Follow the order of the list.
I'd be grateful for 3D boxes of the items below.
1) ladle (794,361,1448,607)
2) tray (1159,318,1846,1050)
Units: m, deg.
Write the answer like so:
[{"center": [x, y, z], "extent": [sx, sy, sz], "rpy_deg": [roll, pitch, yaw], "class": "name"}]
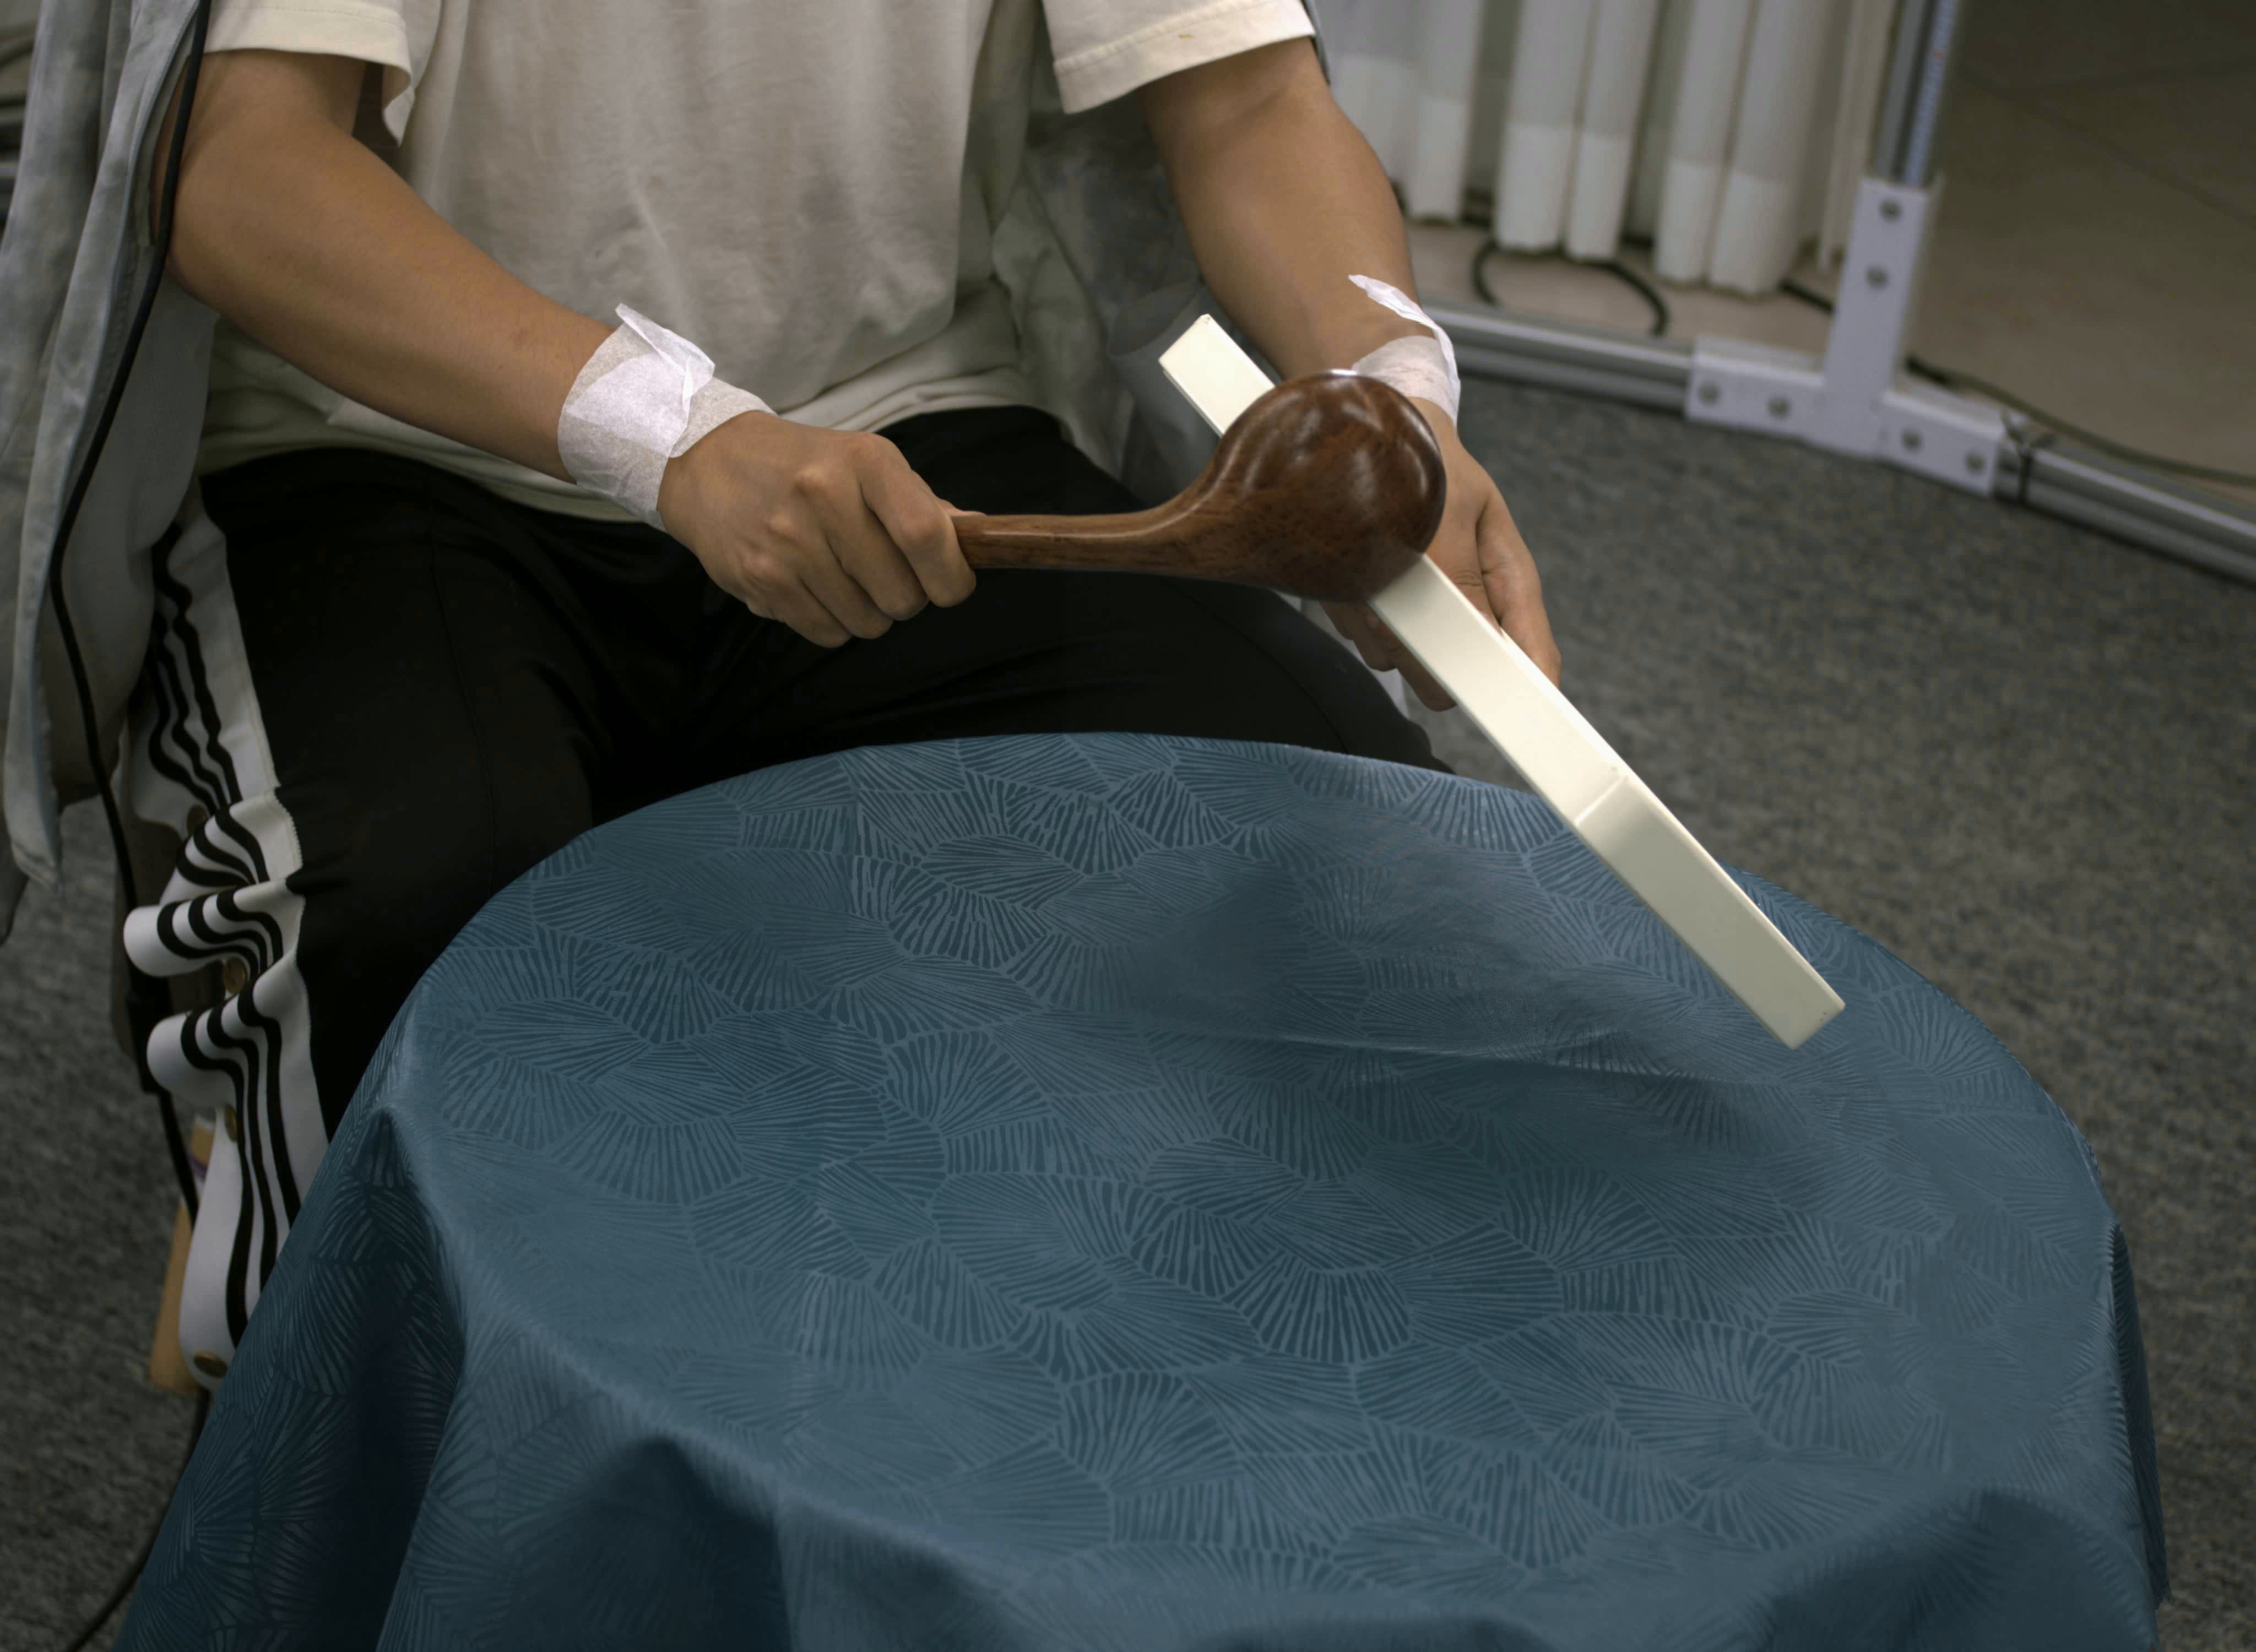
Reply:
[{"center": [-0.005, -0.113, 1.871], "extent": [0.275, 0.081, 0.076], "rpy_deg": [-2, 27, 47], "class": "ladle"}, {"center": [0.131, -0.052, 1.896], "extent": [0.190, 0.027, 0.303], "rpy_deg": [41, 8, -48], "class": "tray"}]
